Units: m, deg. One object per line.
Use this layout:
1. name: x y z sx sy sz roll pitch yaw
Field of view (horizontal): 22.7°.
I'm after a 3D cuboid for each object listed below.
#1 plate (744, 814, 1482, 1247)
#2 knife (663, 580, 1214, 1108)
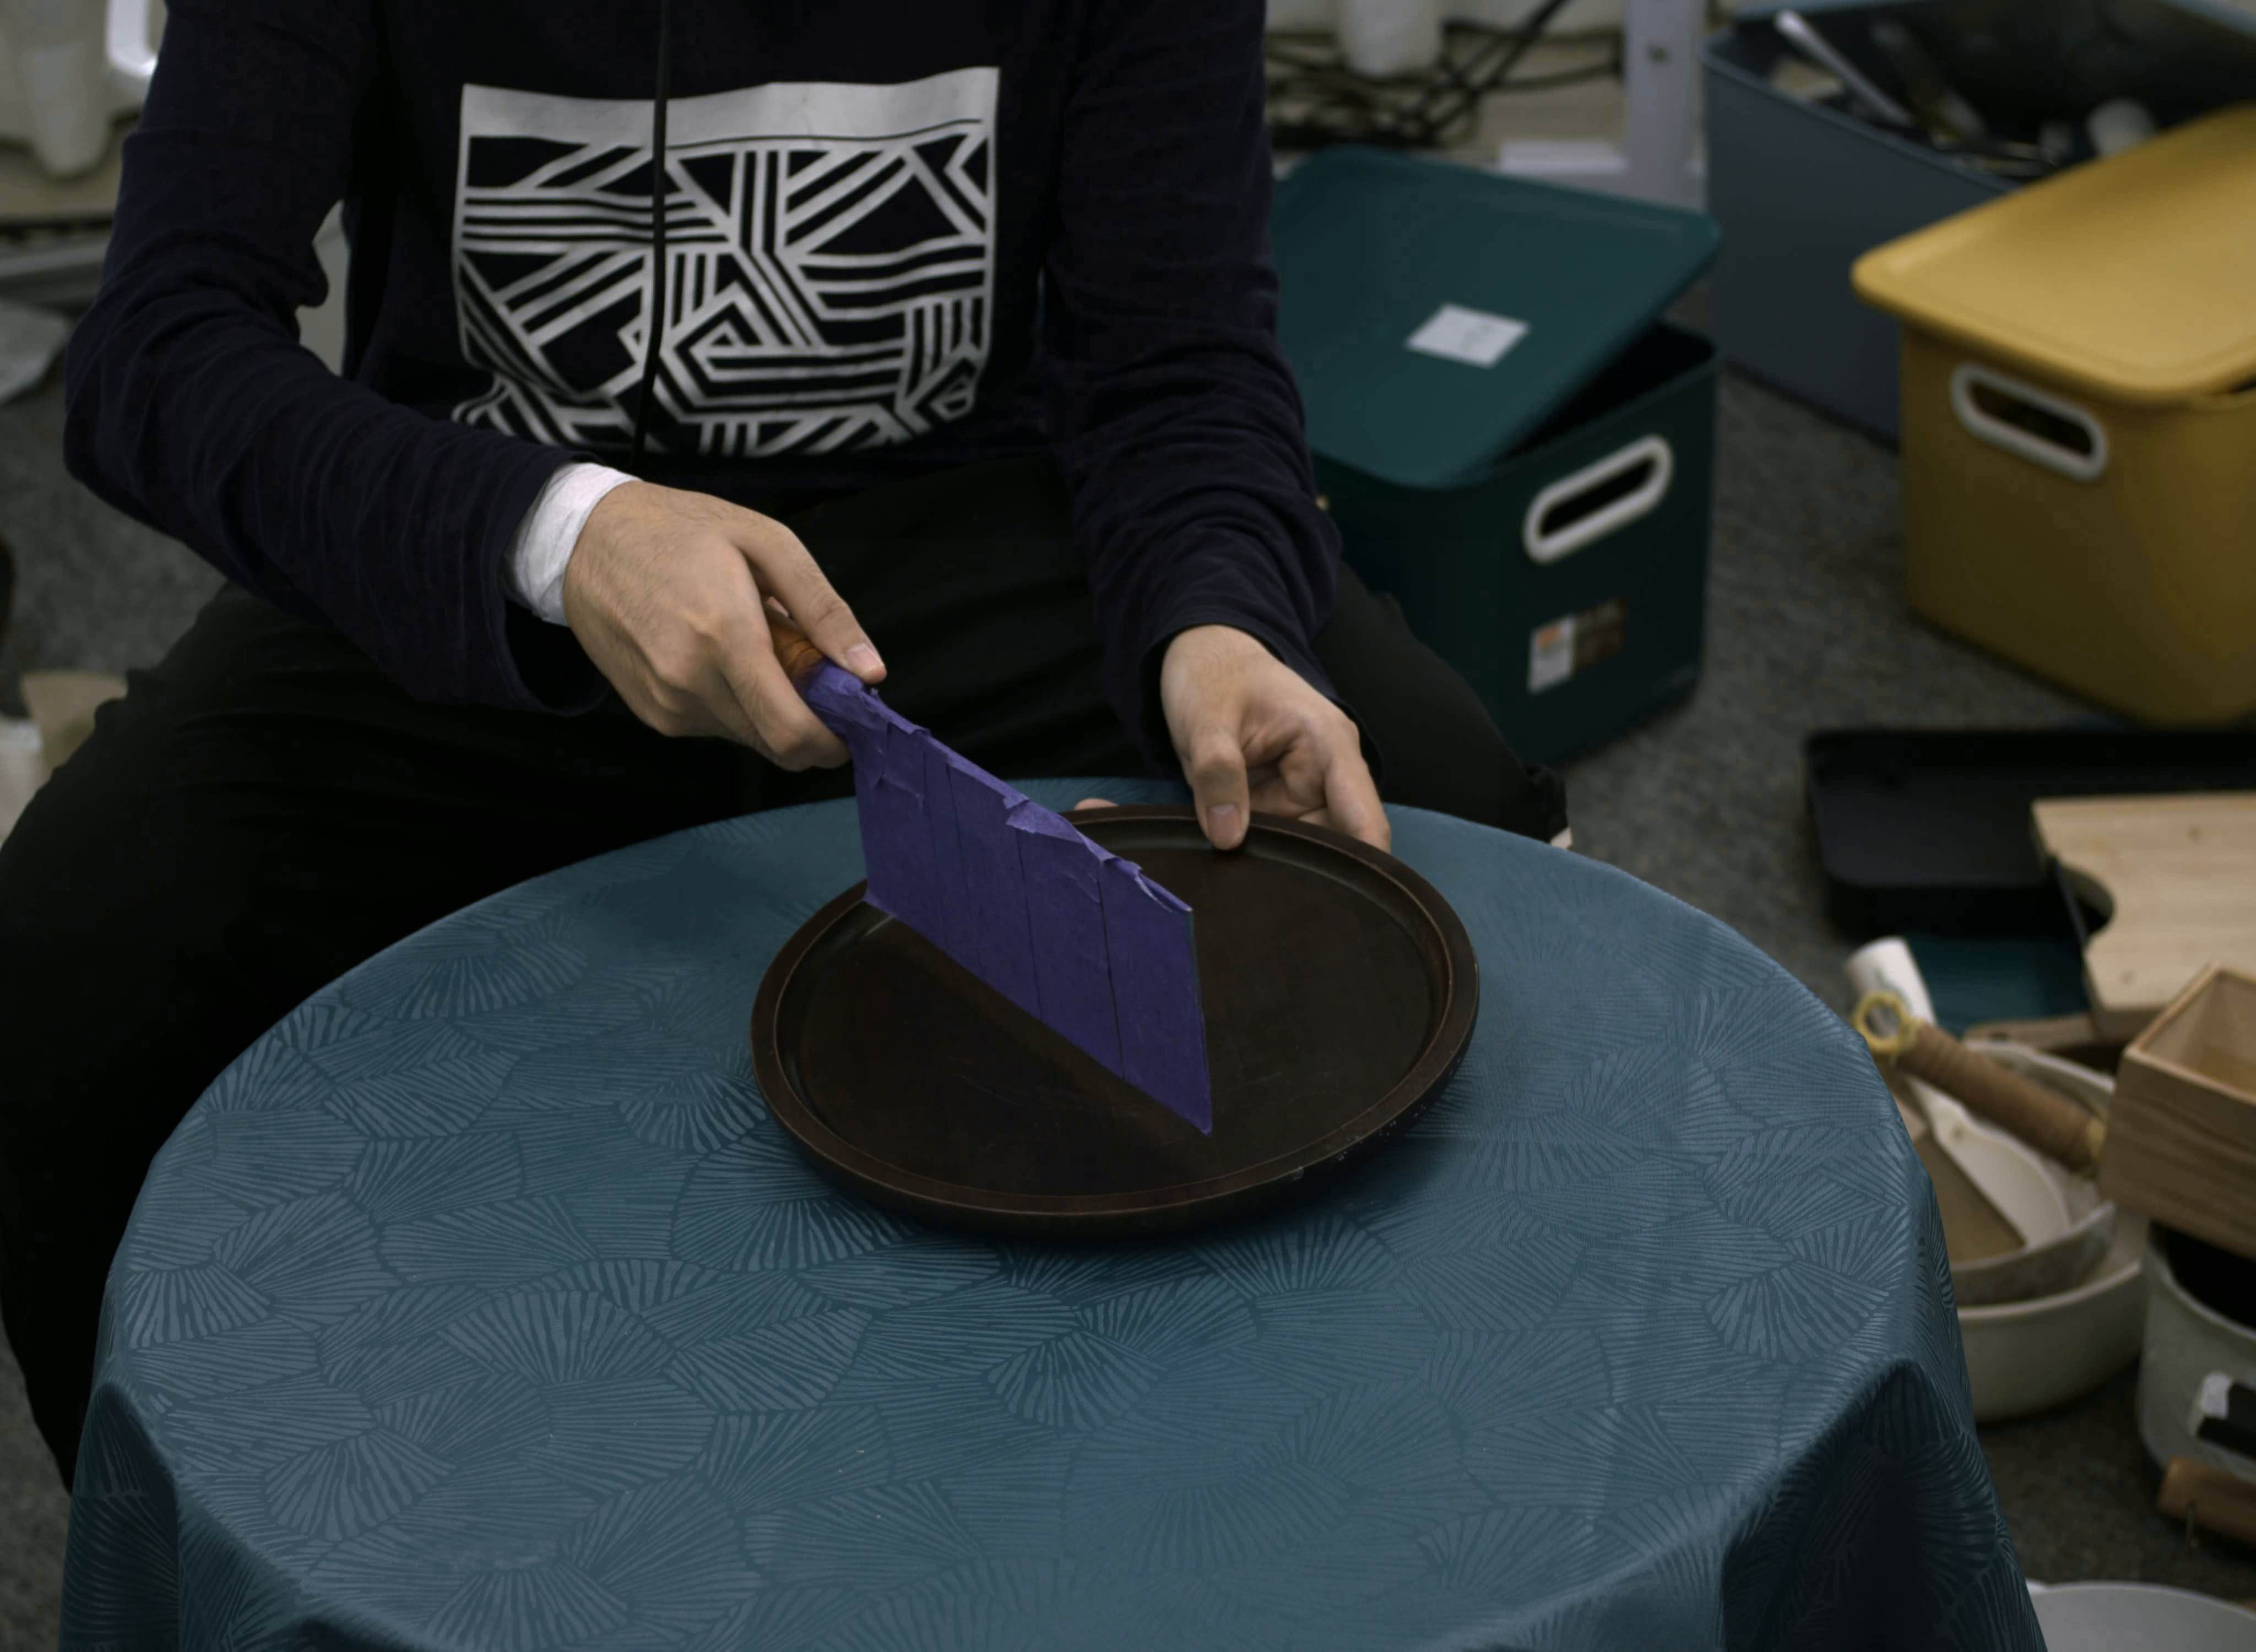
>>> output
1. plate: -0.005 0.068 1.923 0.253 0.028 0.259 -3 32 2
2. knife: -0.068 0.007 1.927 0.032 0.103 0.316 -20 32 -28
